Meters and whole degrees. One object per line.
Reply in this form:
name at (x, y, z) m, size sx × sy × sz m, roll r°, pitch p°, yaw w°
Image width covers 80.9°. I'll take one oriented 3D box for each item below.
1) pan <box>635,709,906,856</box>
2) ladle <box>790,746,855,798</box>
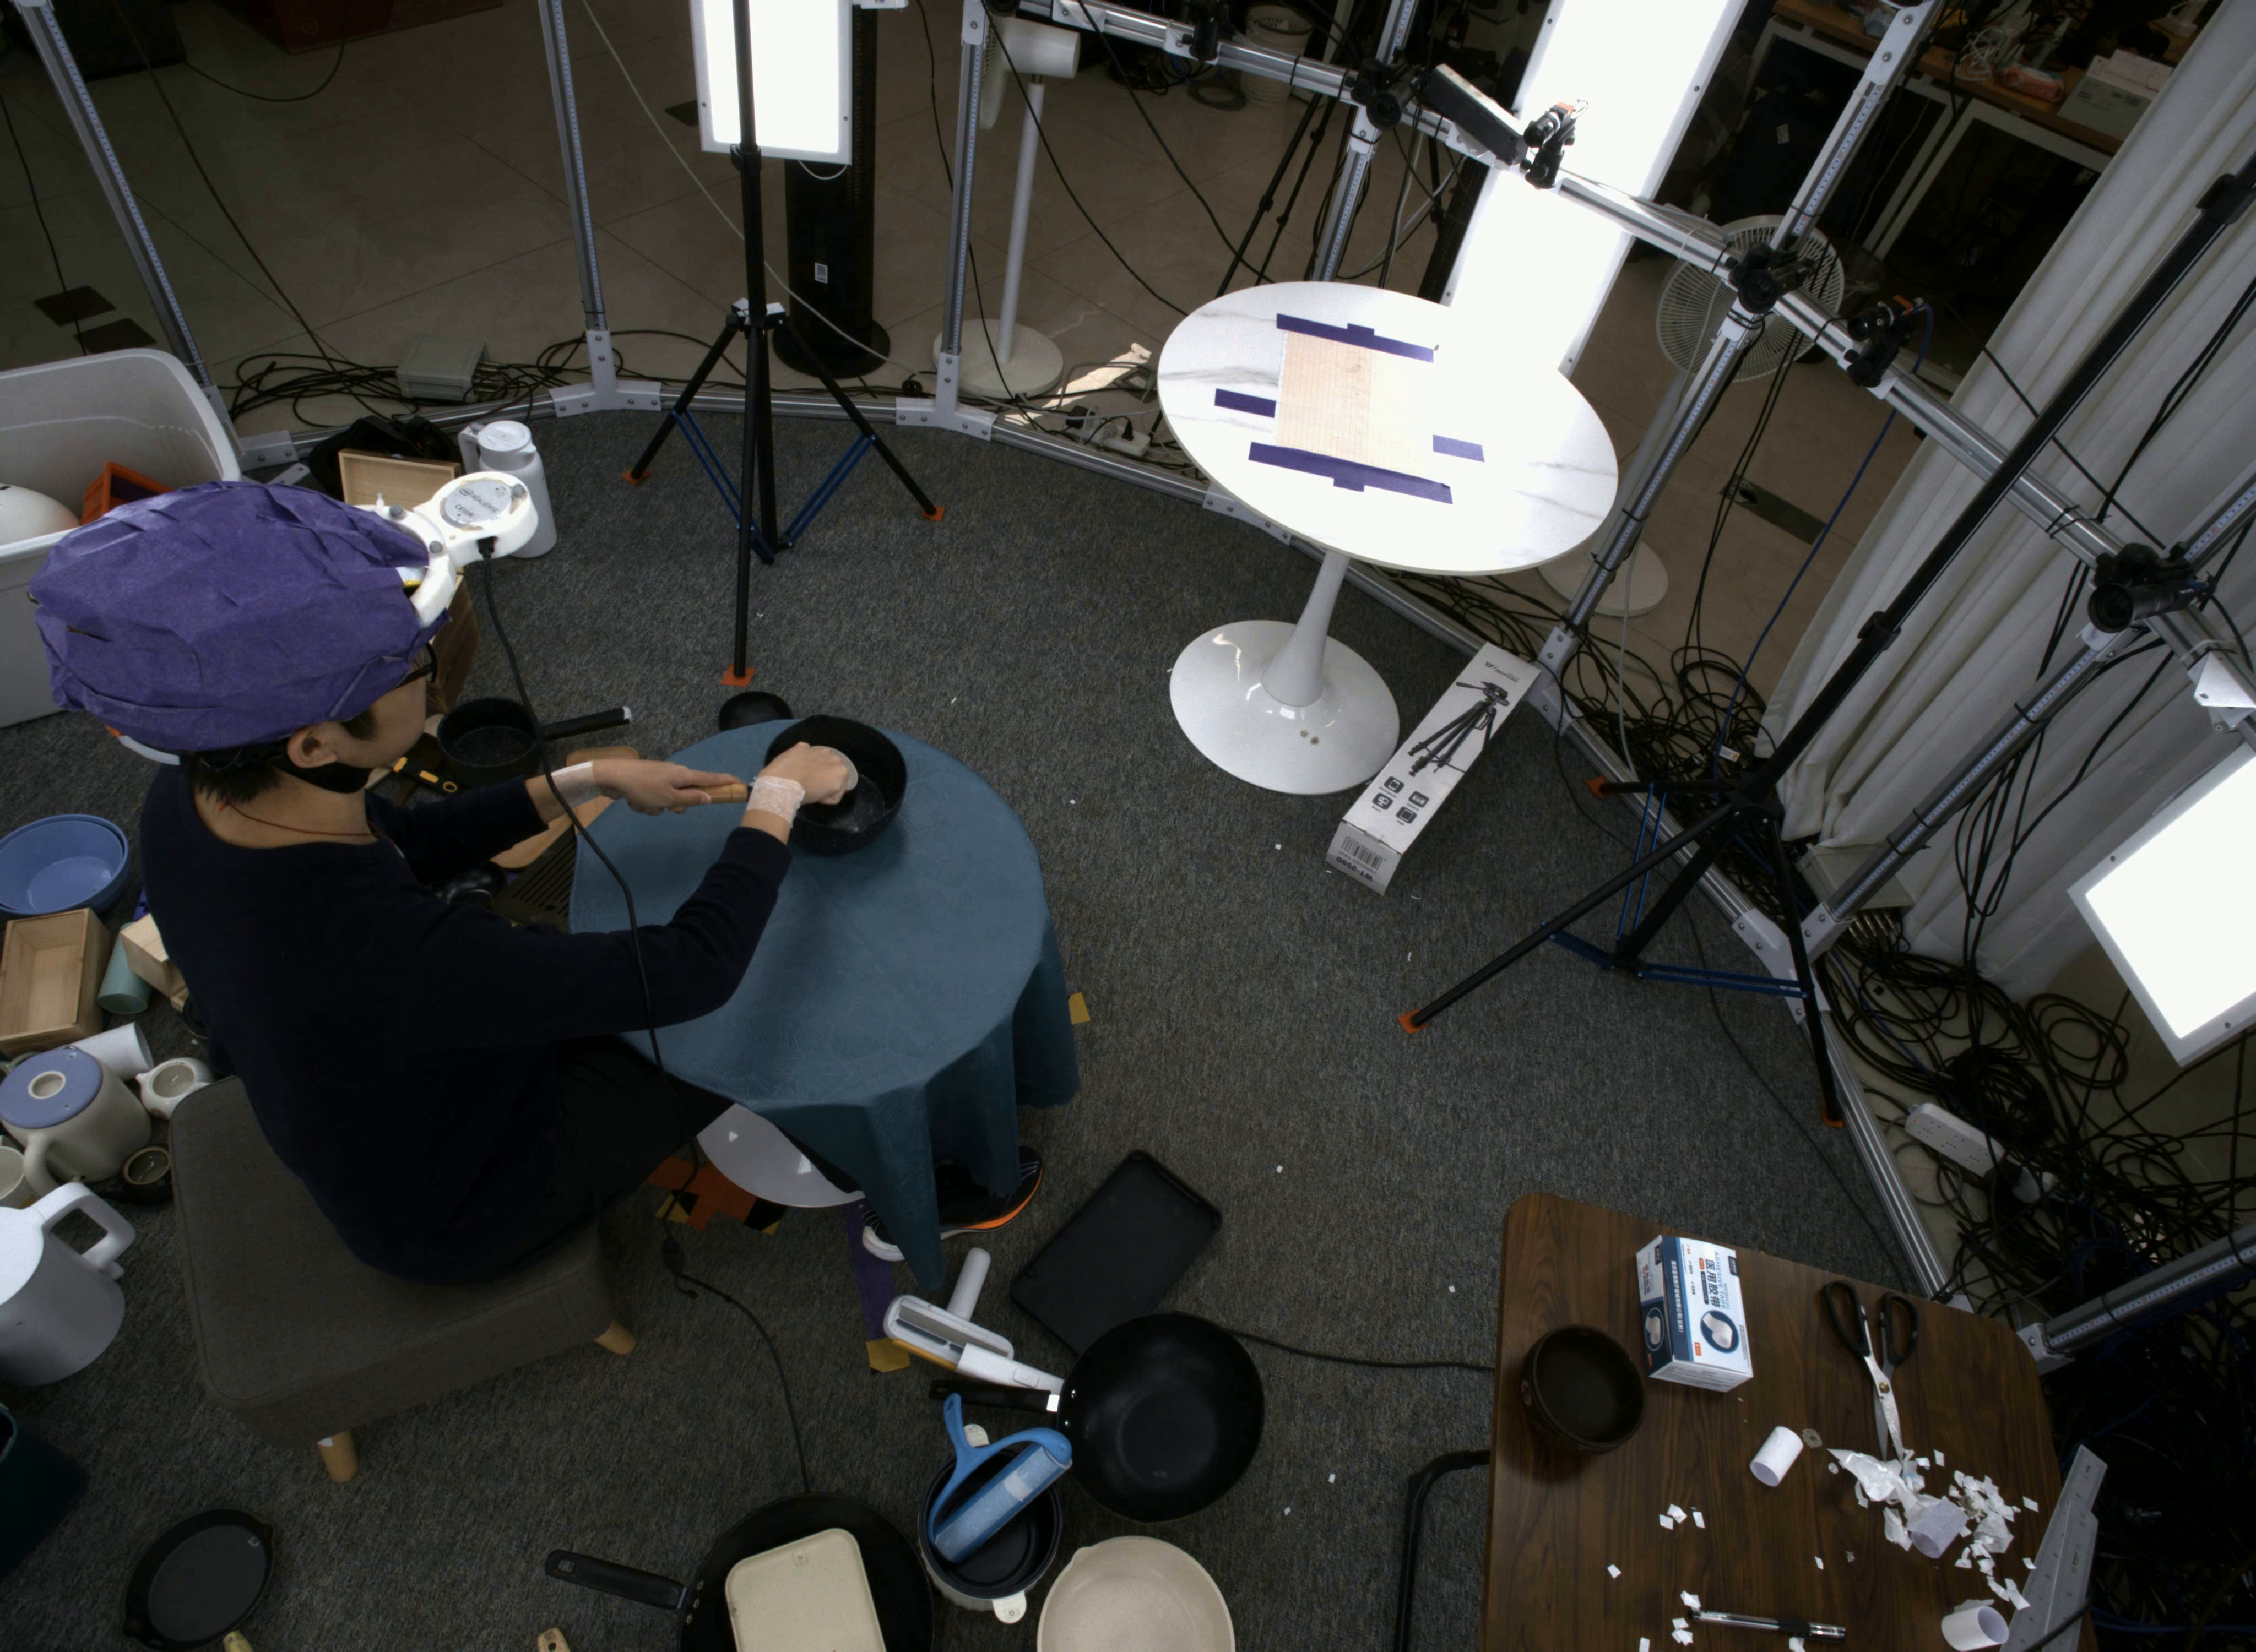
pan at (-0.454, -0.040, 1.652) m, size 0.346 × 0.109 × 0.203 m, roll -12°, pitch 60°, yaw -29°
ladle at (-0.380, -0.077, 1.621) m, size 0.090 × 0.271 × 0.069 m, roll 26°, pitch 82°, yaw -12°
